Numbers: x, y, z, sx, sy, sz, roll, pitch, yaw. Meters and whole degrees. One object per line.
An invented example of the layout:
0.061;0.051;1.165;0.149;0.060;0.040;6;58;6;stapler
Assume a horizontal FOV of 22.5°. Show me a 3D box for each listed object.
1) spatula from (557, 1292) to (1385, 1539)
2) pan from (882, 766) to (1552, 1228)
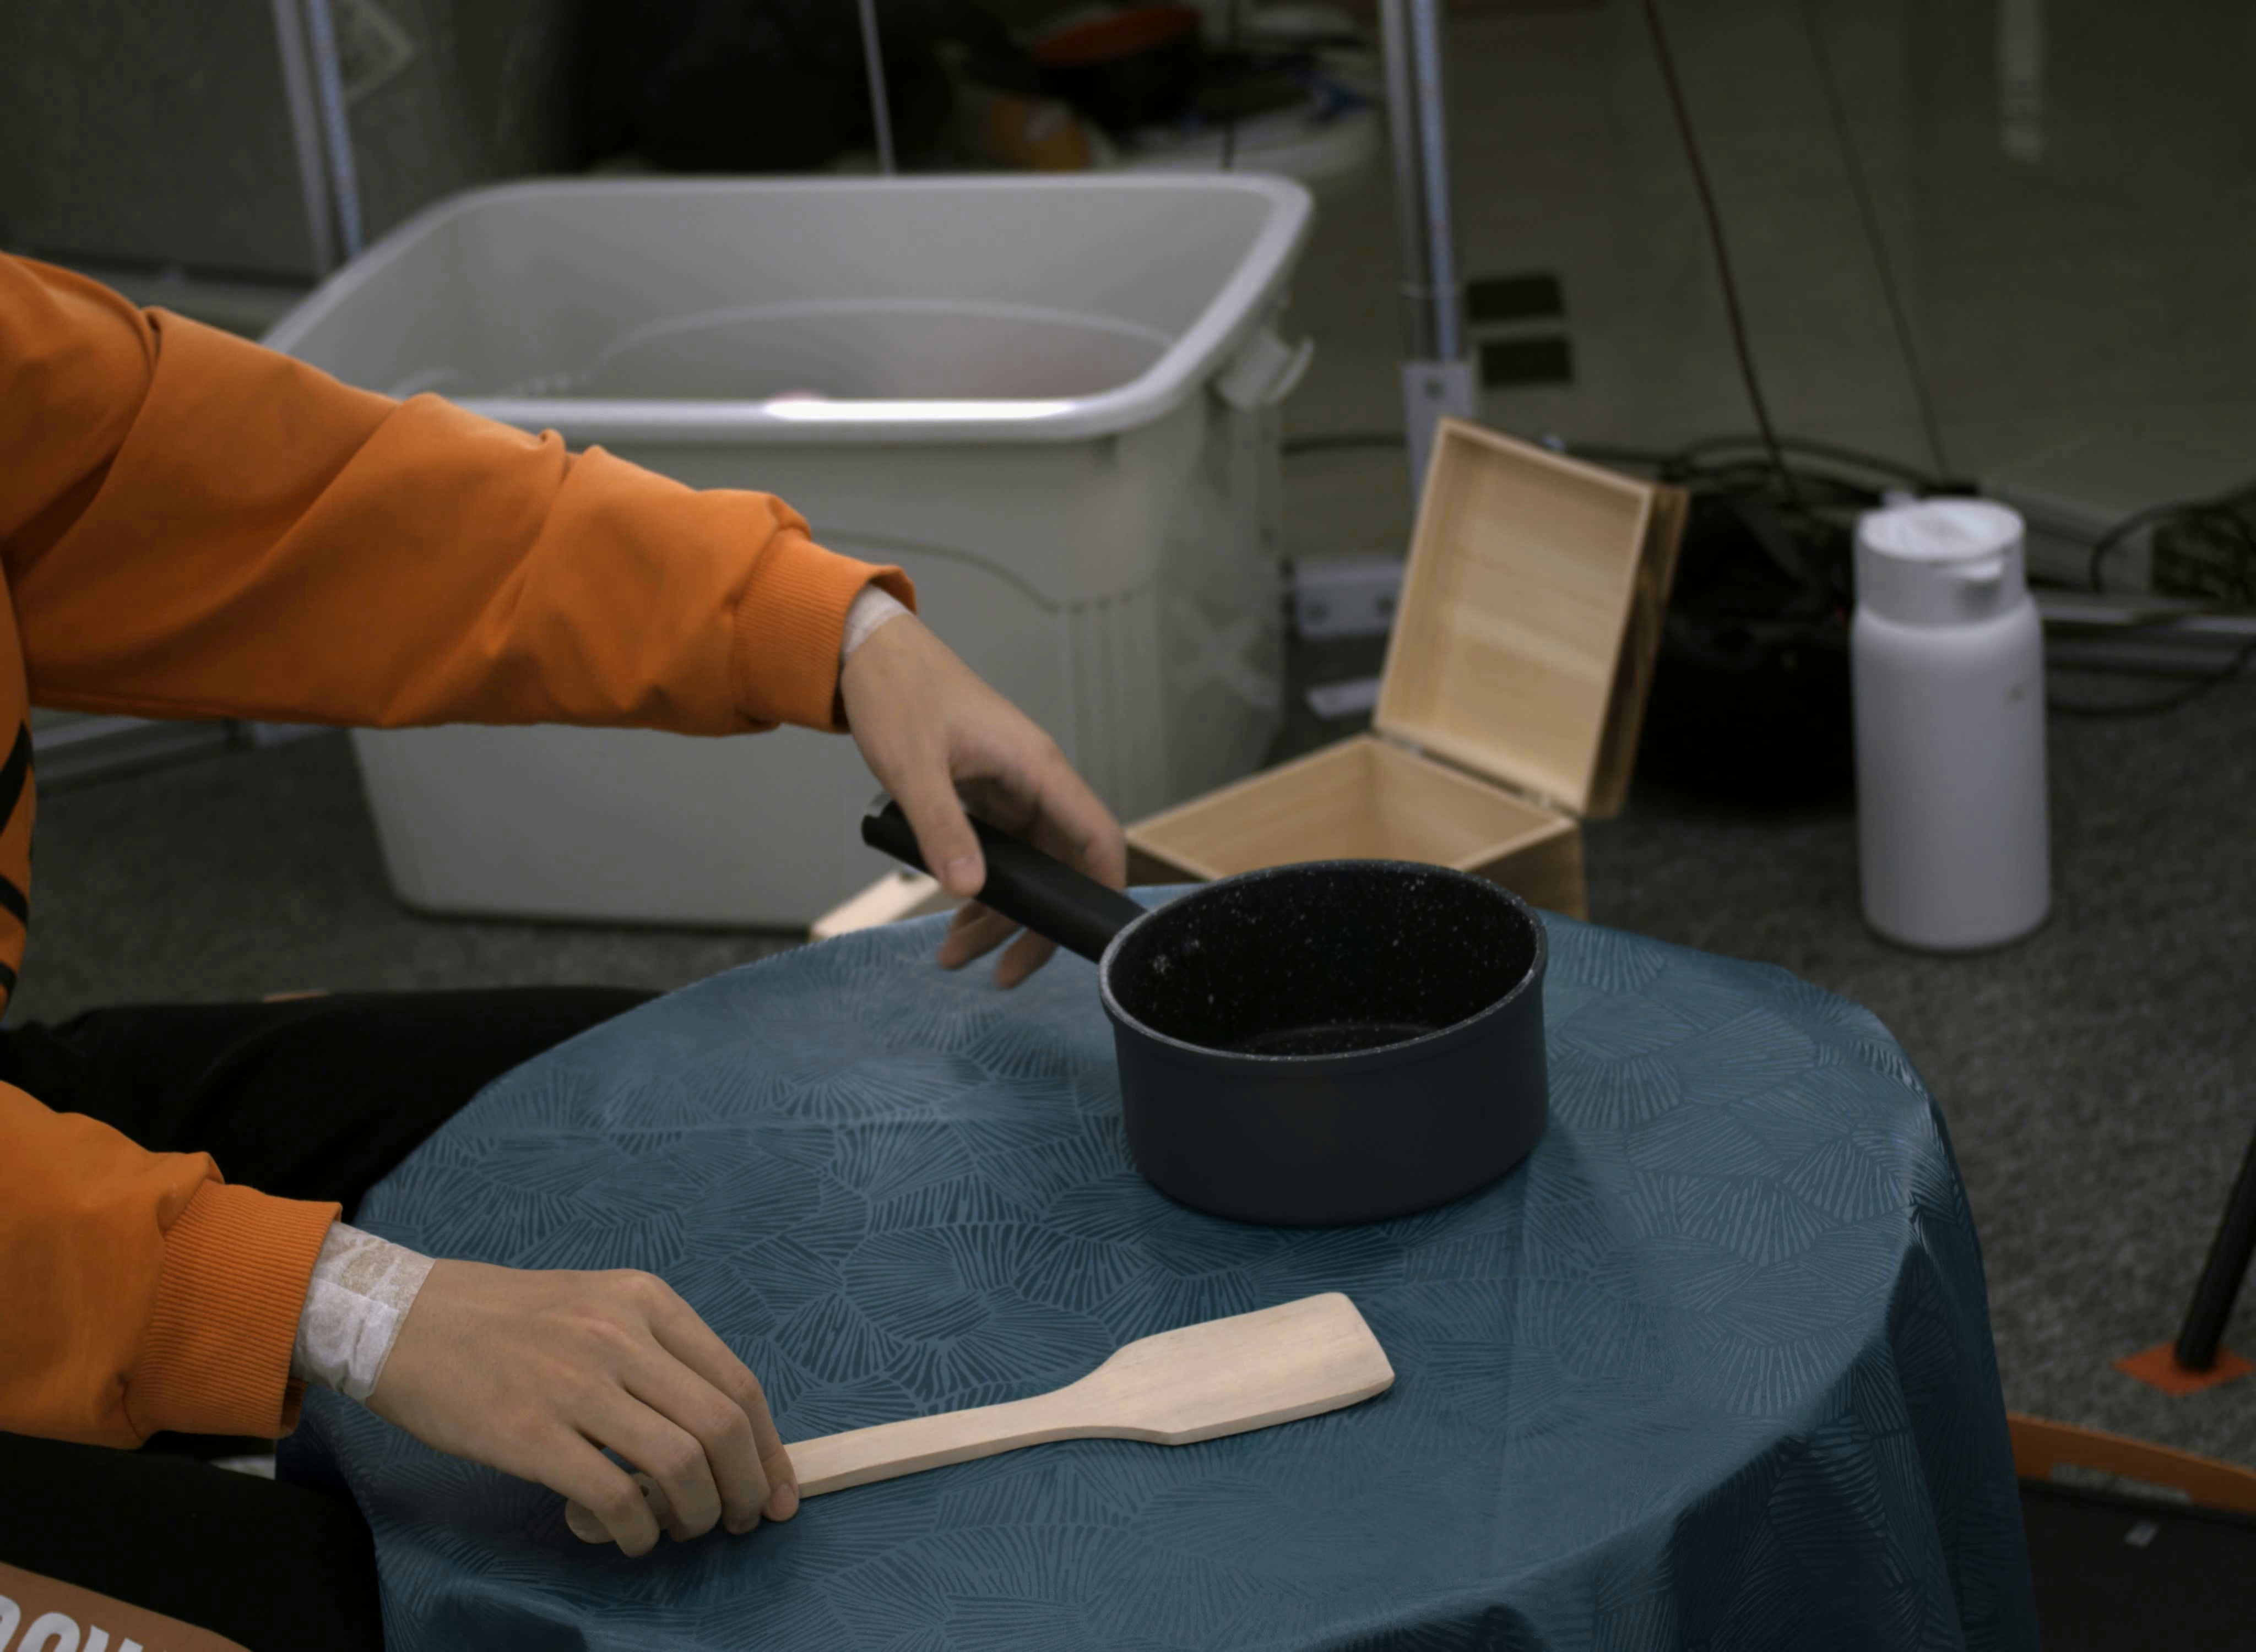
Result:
-0.056;0.213;1.992;0.292;0.011;0.071;-11;29;-10;spatula
0.022;0.060;2.210;0.170;0.088;0.326;-26;33;-36;pan
